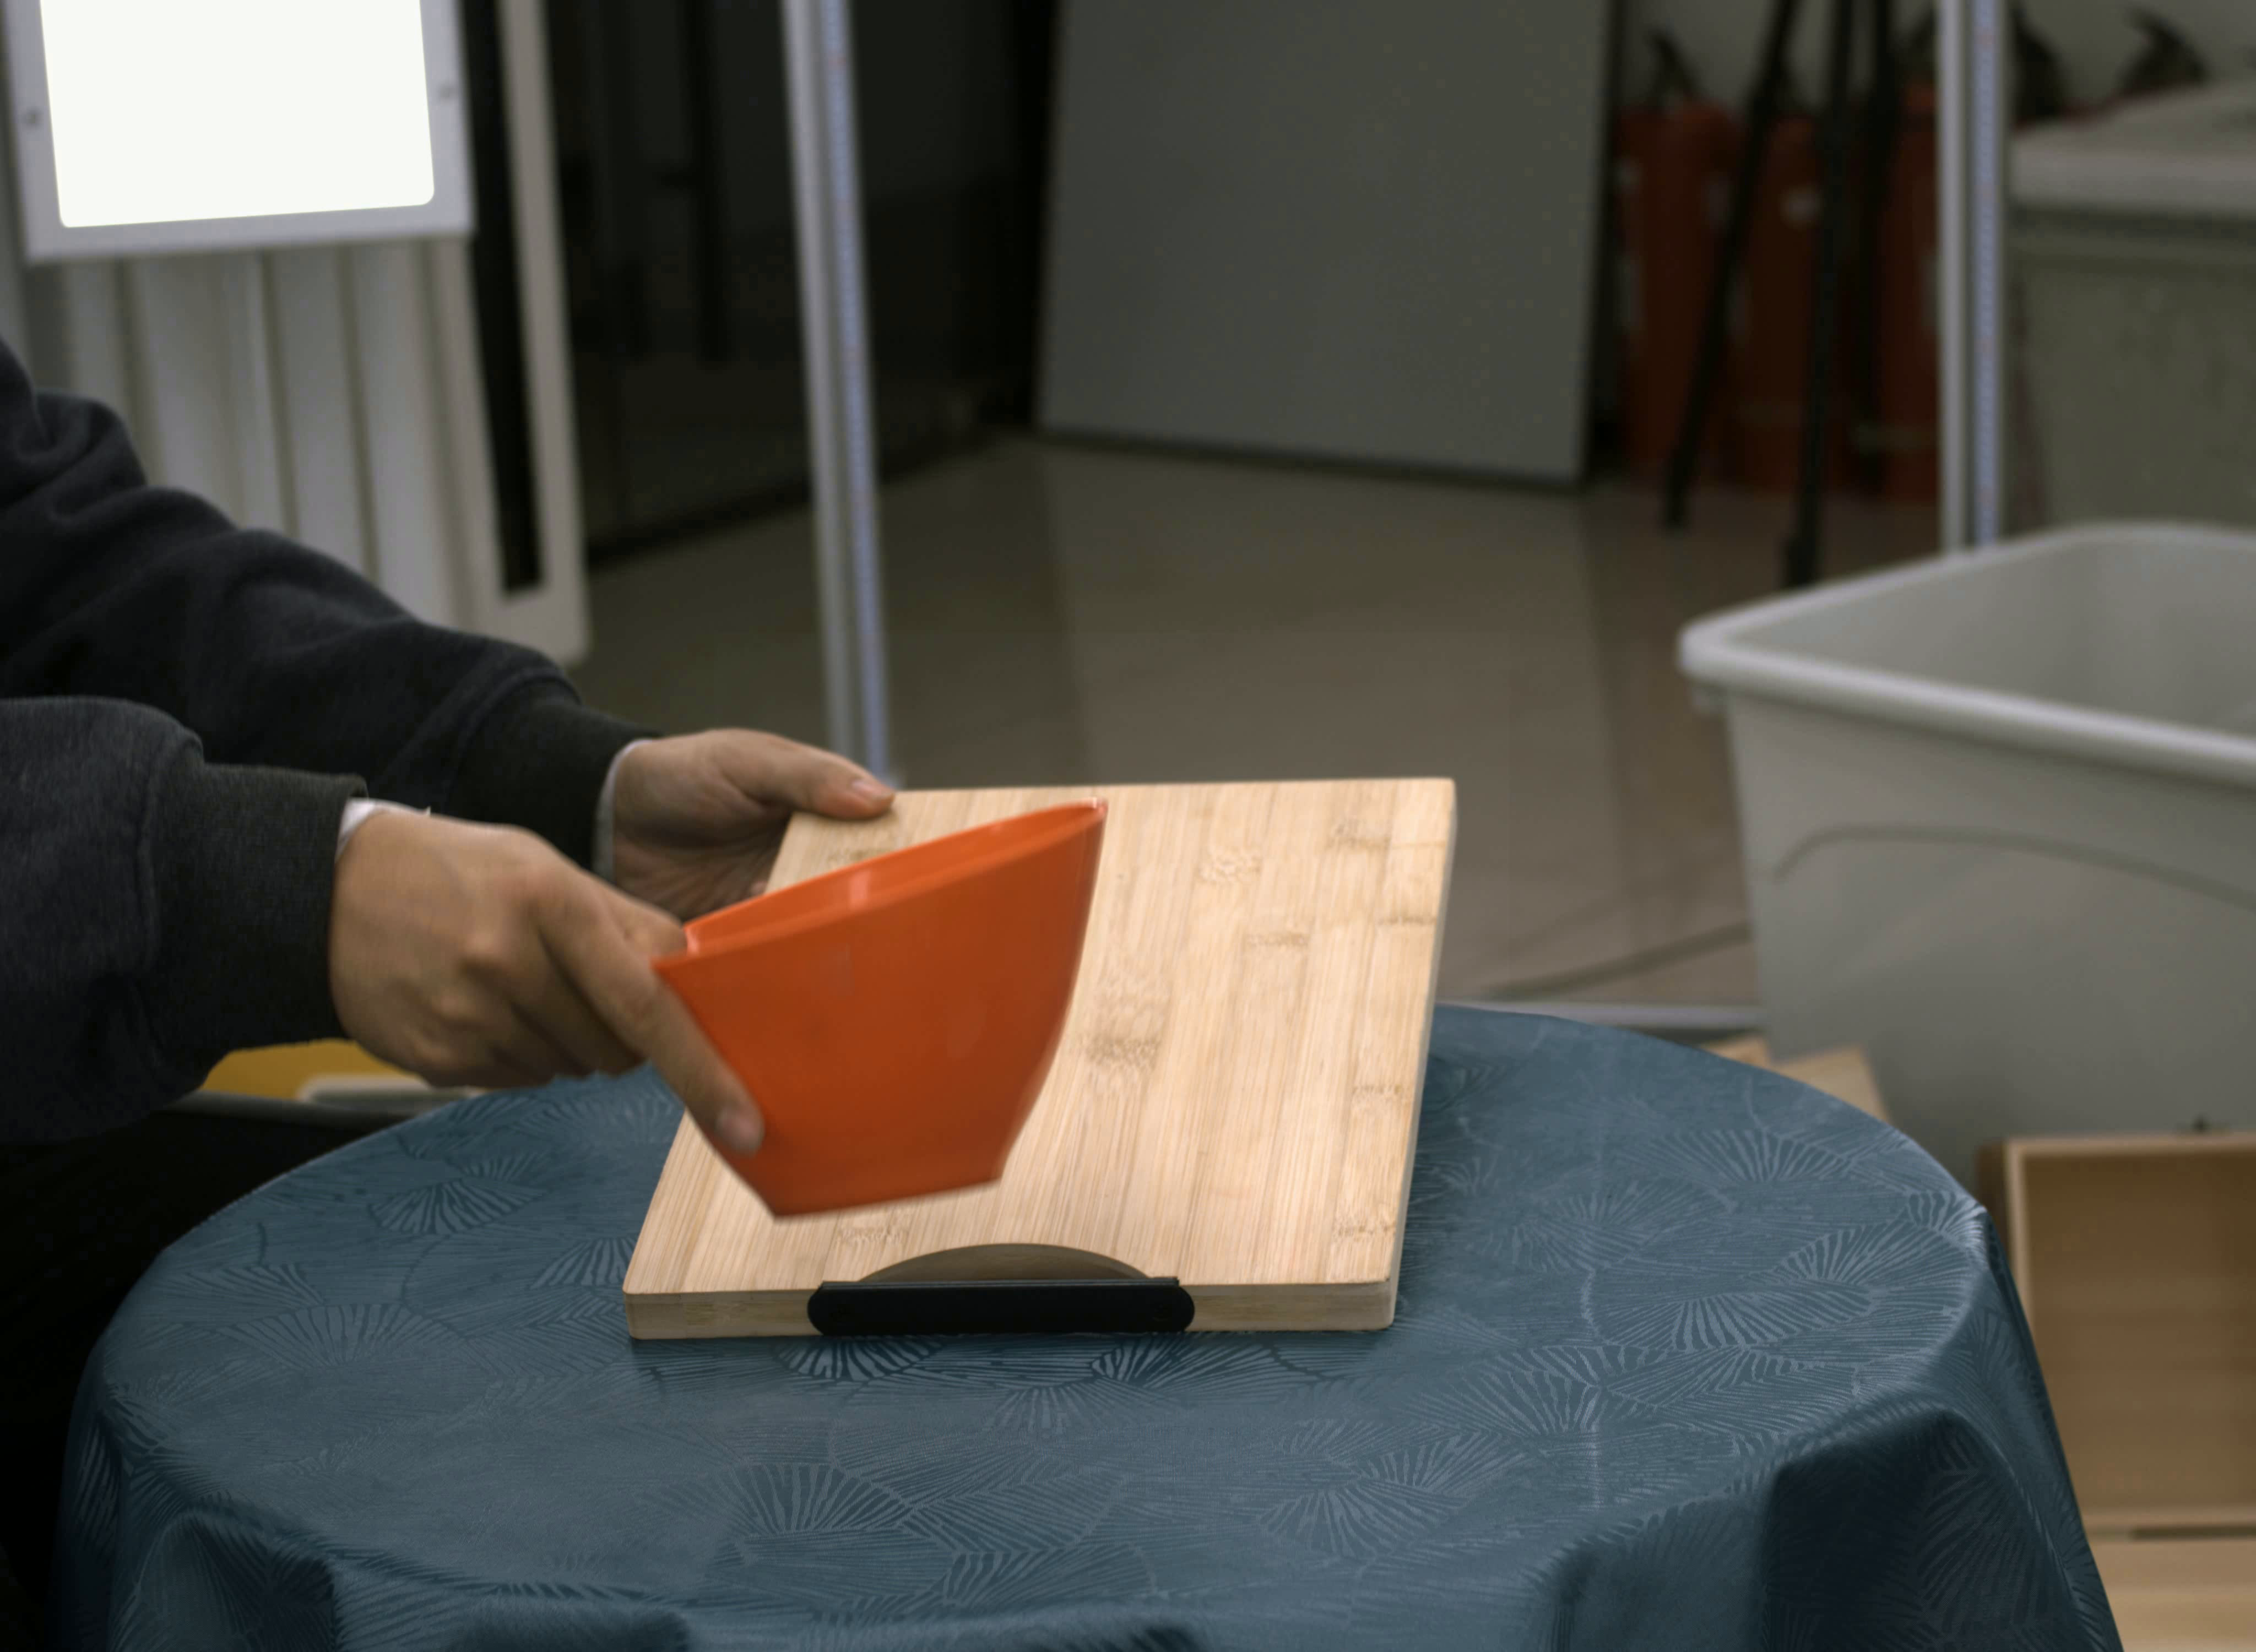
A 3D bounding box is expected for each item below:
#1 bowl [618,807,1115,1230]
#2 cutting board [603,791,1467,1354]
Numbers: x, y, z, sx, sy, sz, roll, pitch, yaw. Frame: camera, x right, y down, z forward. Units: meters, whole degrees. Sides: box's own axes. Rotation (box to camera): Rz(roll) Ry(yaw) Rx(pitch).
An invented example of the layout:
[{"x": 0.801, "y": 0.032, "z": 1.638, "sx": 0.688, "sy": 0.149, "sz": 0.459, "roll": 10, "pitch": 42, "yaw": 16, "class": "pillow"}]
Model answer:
[{"x": -0.068, "y": 0.057, "z": 1.536, "sx": 0.146, "sy": 0.106, "sz": 0.148, "roll": -9, "pitch": 0, "yaw": -1, "class": "bowl"}, {"x": -0.020, "y": 0.075, "z": 1.779, "sx": 0.249, "sy": 0.024, "sz": 0.349, "roll": -3, "pitch": 26, "yaw": 9, "class": "cutting board"}]
